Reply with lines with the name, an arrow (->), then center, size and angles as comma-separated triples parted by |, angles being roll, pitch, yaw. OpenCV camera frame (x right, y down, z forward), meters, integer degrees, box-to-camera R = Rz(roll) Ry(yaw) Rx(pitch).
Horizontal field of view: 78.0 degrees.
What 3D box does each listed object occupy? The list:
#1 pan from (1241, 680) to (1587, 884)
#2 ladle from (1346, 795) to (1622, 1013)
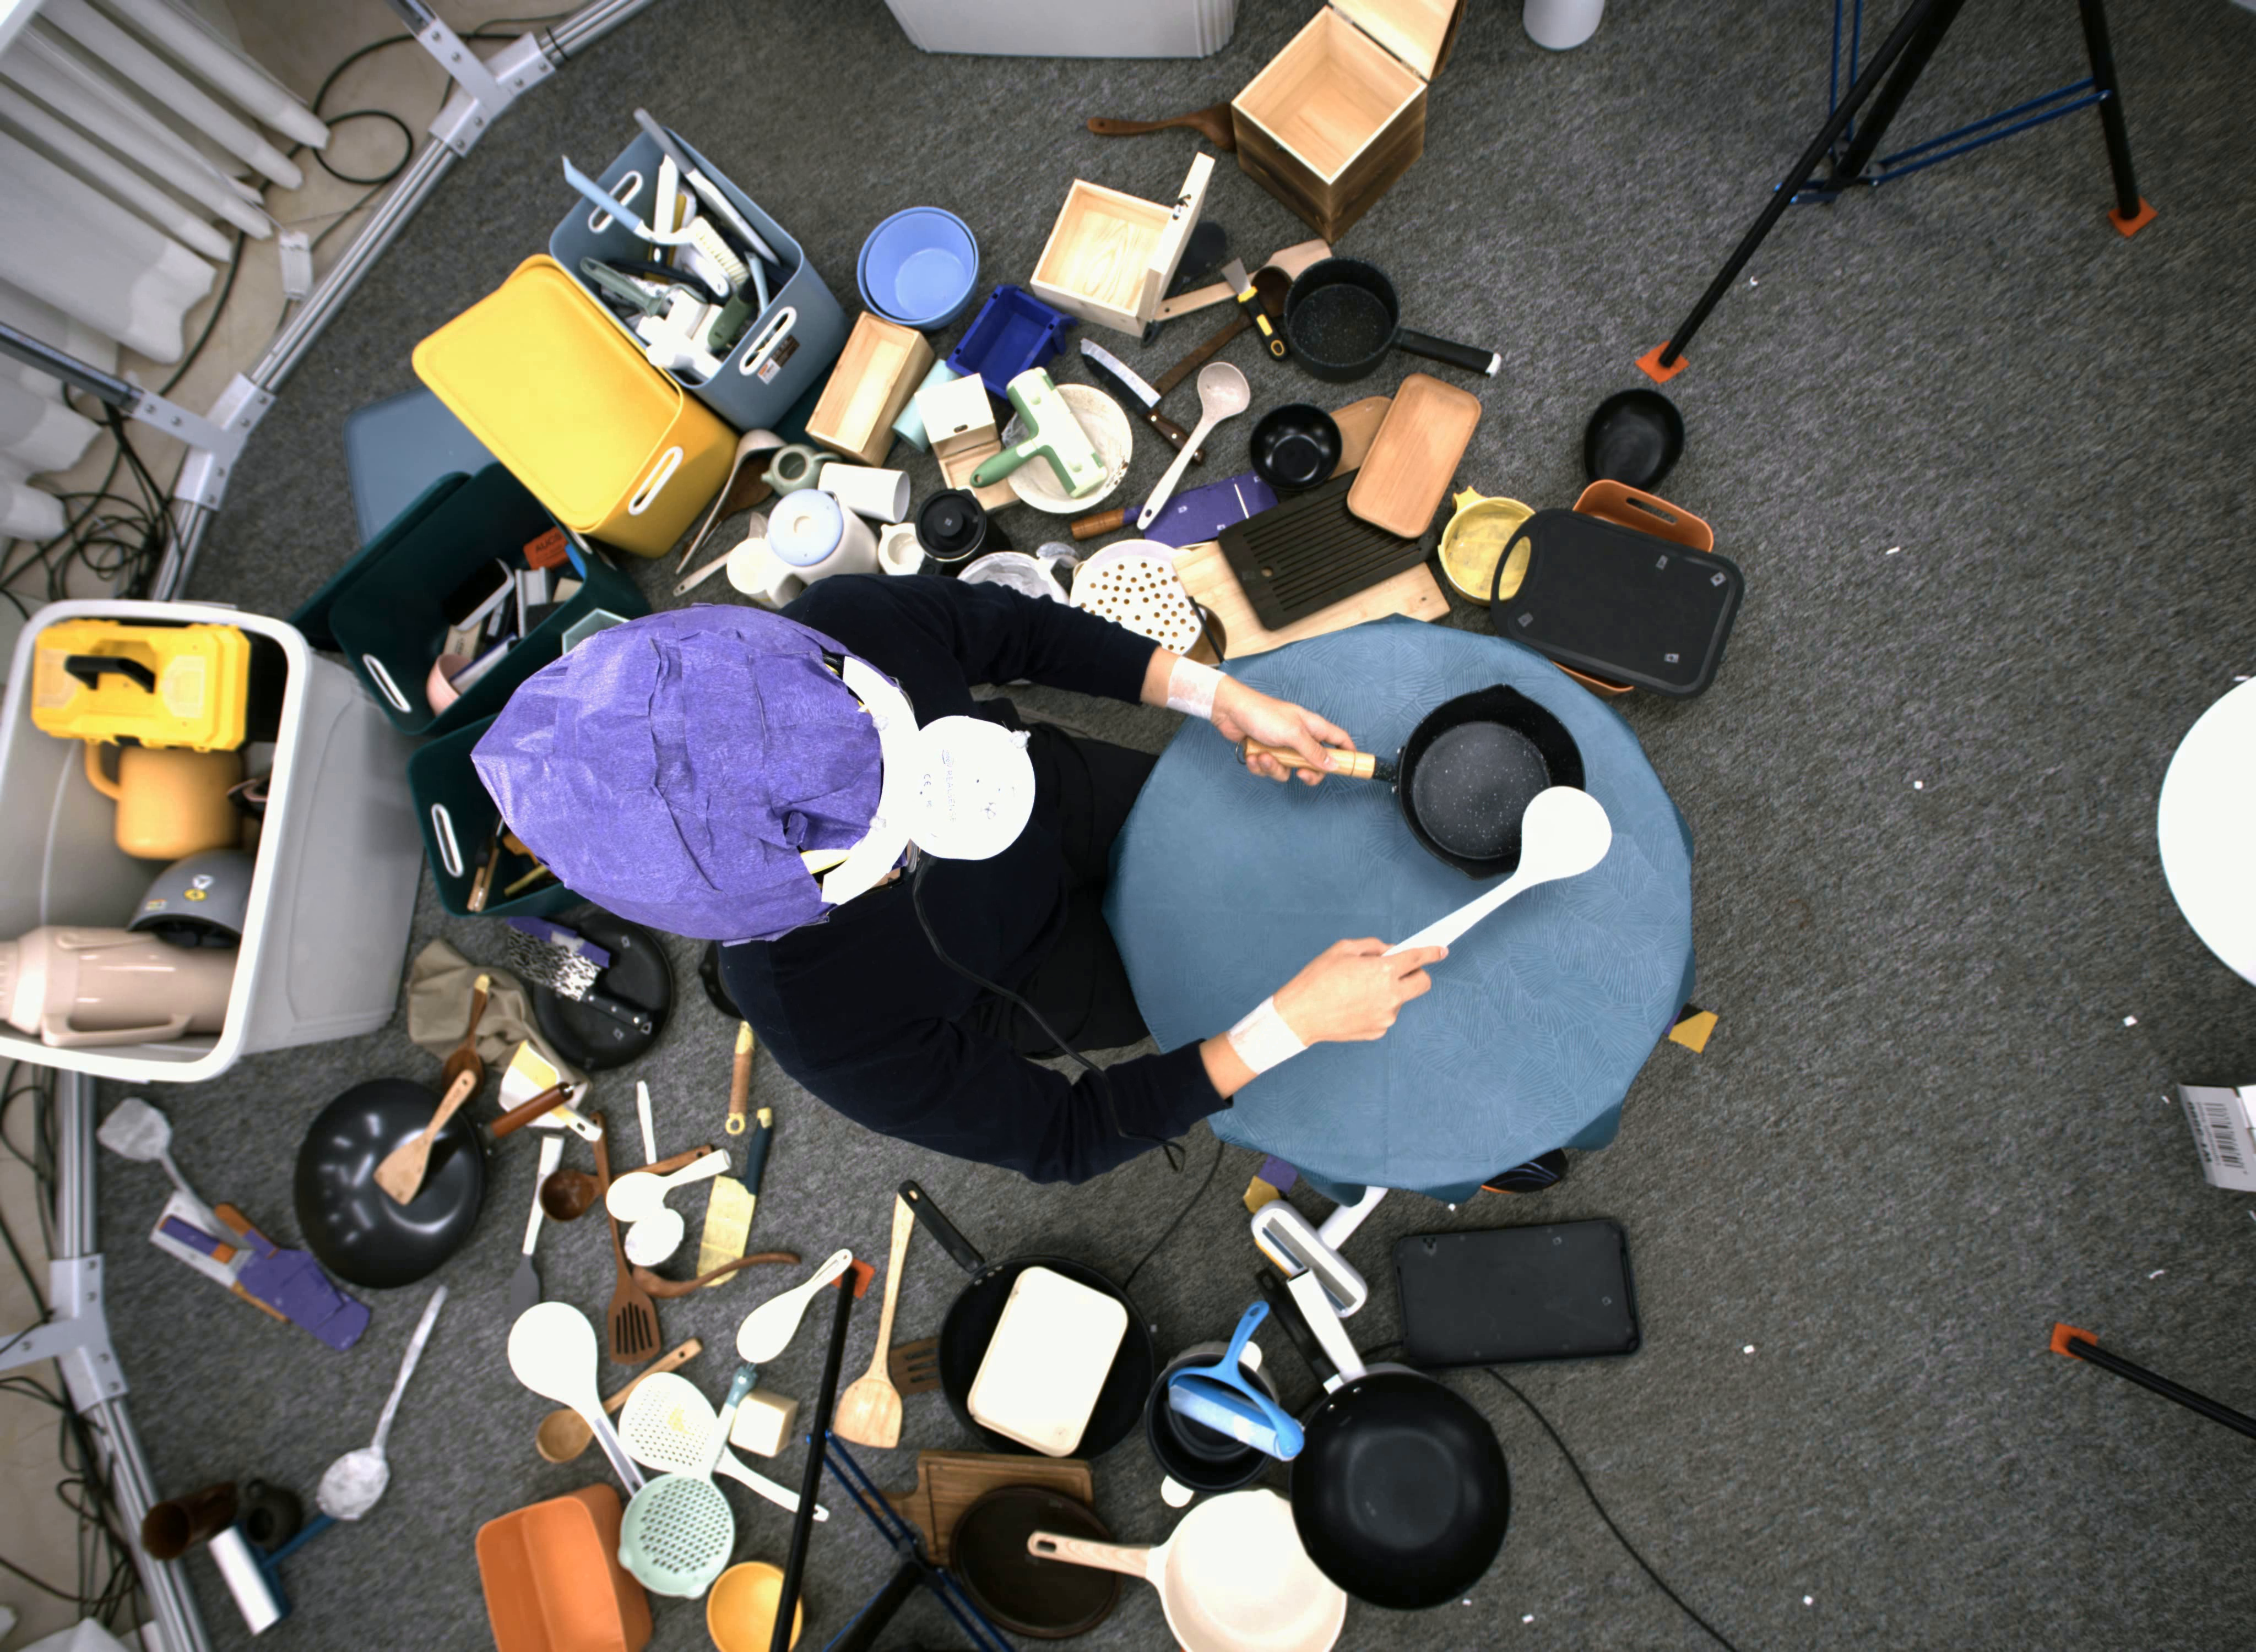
pan -> 0.286, -0.052, 1.403 | 0.343, 0.108, 0.207 | 7, 89, 7
ladle -> 0.326, 0.073, 1.269 | 0.291, 0.071, 0.089 | -31, 60, -12
